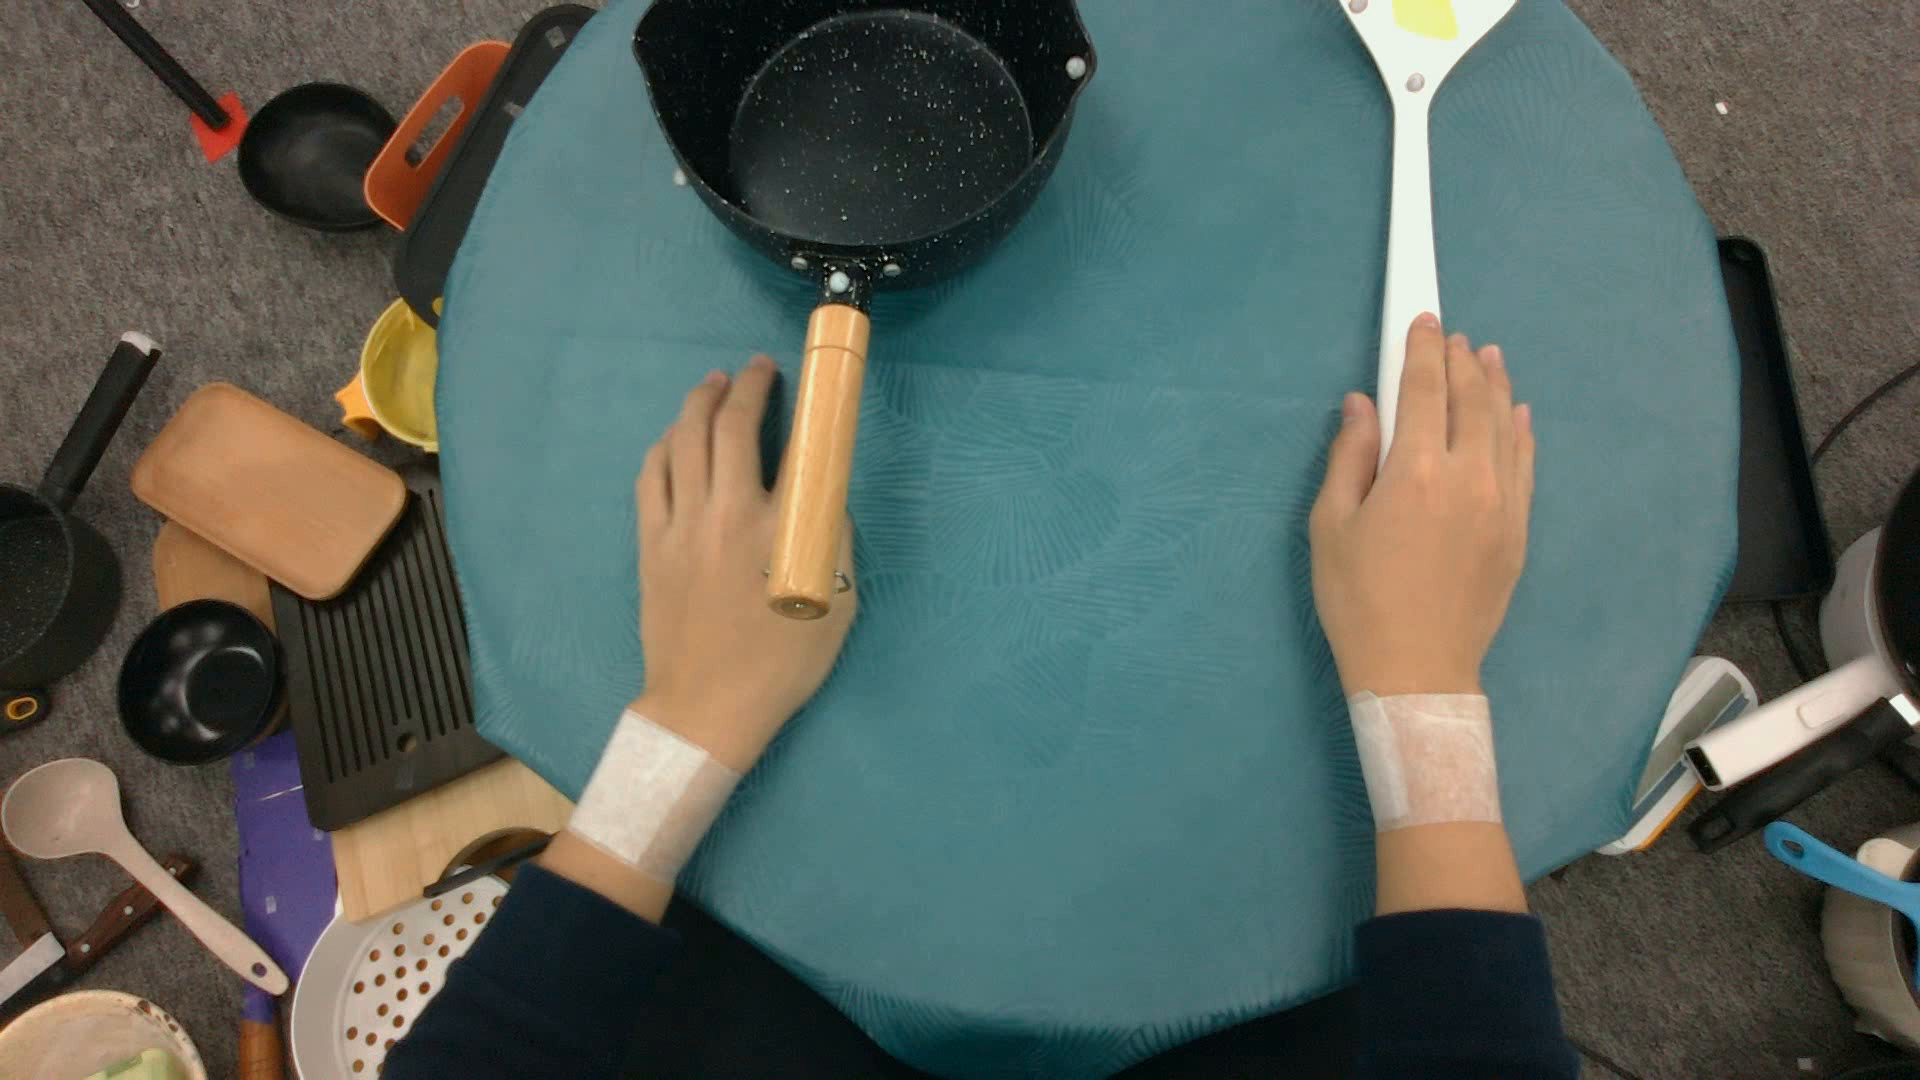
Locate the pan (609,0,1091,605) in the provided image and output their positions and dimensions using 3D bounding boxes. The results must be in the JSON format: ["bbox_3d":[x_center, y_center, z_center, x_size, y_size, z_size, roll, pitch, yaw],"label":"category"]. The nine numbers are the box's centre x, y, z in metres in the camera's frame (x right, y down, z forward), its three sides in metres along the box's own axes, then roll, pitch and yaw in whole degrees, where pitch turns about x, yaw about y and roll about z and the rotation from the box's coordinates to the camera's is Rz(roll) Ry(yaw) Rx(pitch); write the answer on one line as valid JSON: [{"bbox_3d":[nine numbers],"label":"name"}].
[{"bbox_3d":[-0.051,-0.131,0.596,0.207,0.108,0.343,3,75,1],"label":"pan"}]

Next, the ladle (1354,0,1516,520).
[{"bbox_3d":[0.208,-0.158,0.618,0.090,0.070,0.293,8,77,-5],"label":"ladle"}]
